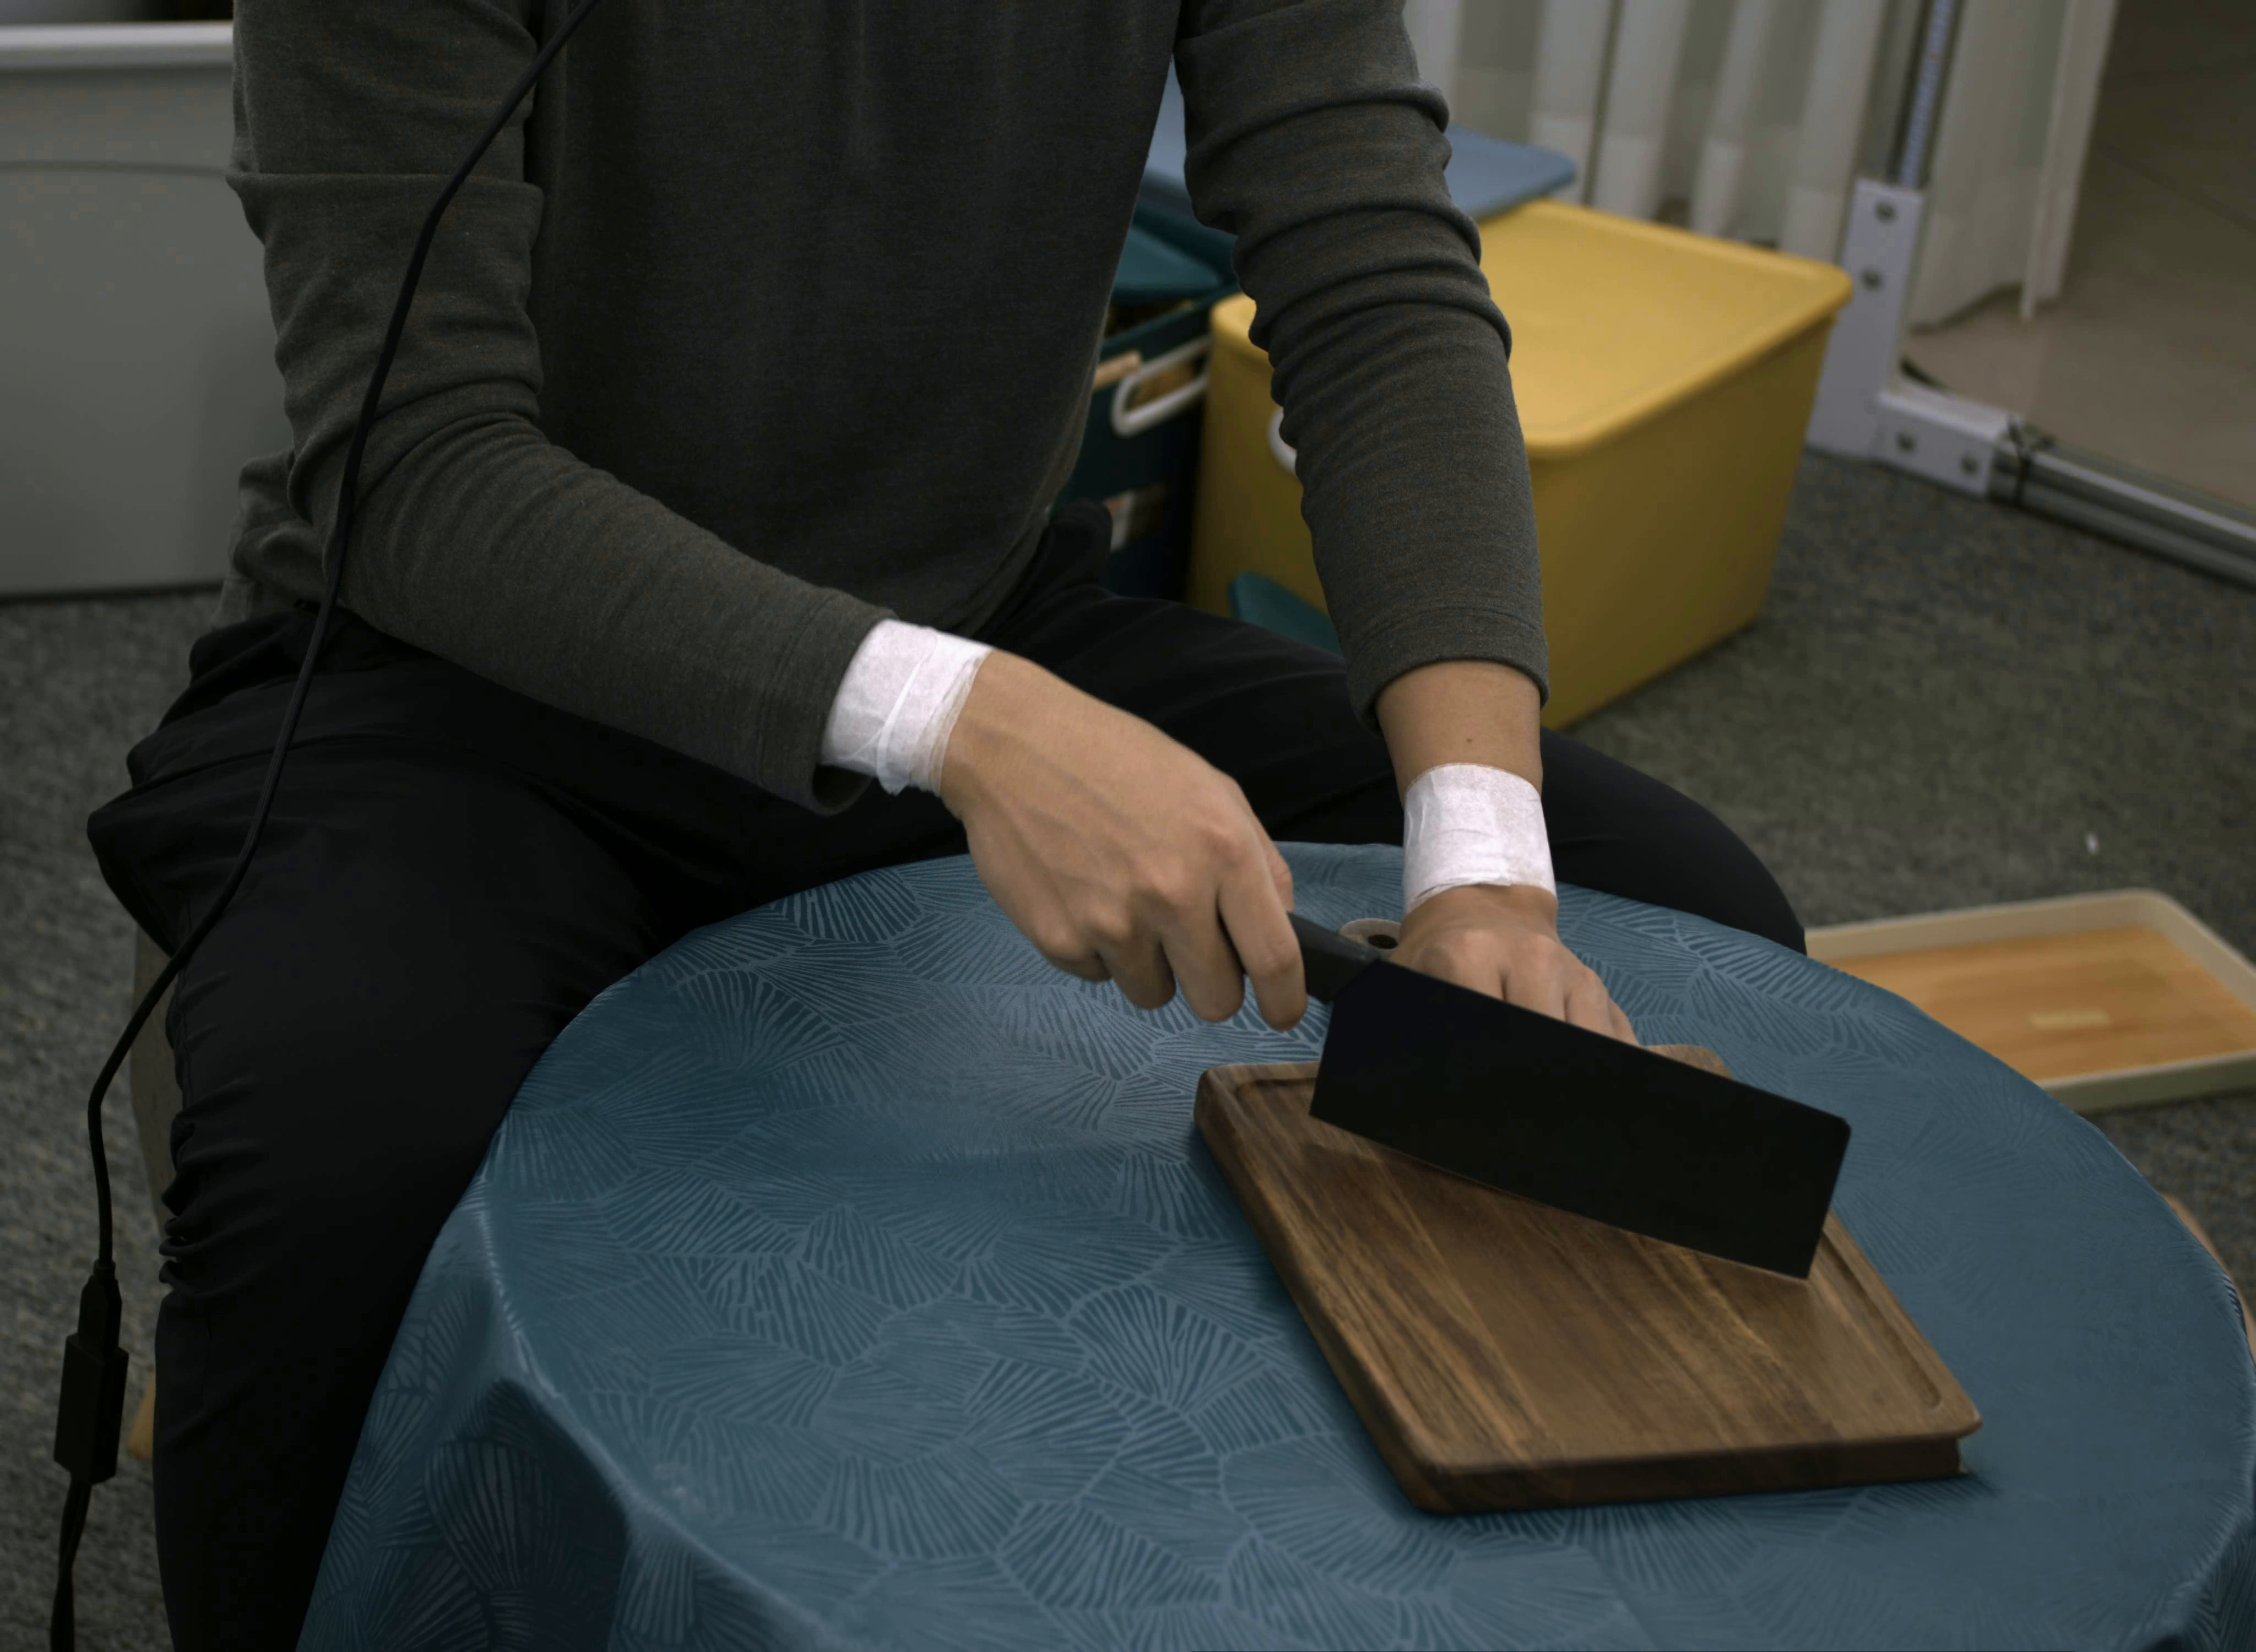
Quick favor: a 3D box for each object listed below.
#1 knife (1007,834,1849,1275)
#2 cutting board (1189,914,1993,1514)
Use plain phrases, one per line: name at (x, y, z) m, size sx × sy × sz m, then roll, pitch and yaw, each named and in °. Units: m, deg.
knife at (0.097, 0.073, 1.795) m, size 0.303 × 0.081 × 0.021 m, roll 24°, pitch 24°, yaw 15°
cutting board at (0.135, 0.122, 1.815) m, size 0.200 × 0.023 × 0.355 m, roll -2°, pitch 28°, yaw -17°
